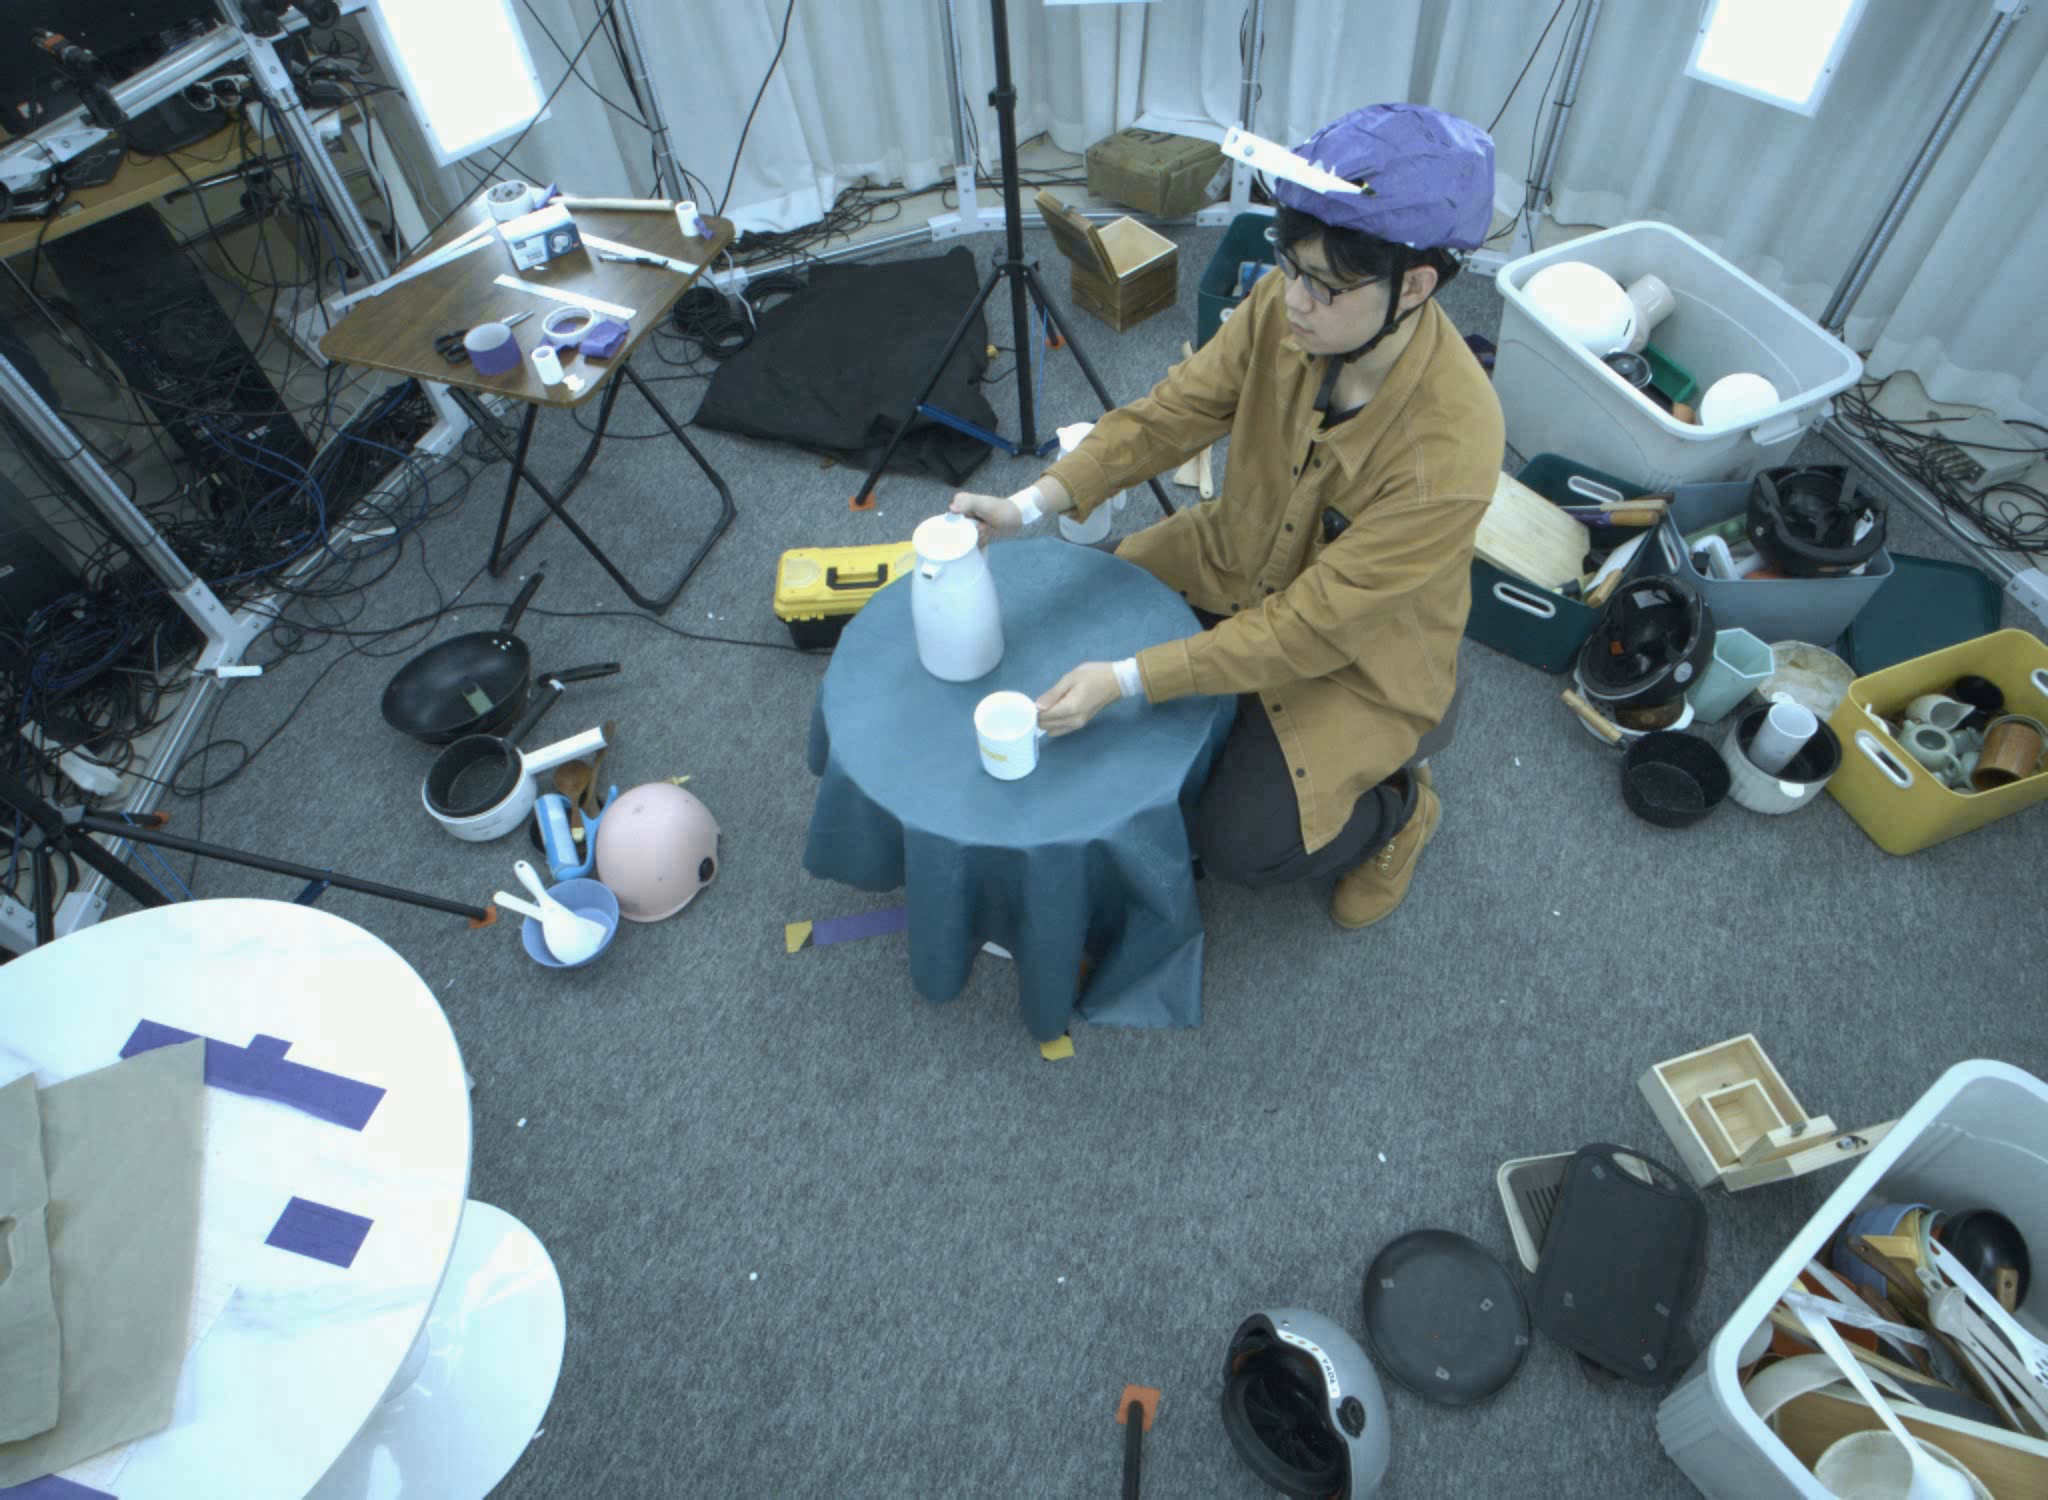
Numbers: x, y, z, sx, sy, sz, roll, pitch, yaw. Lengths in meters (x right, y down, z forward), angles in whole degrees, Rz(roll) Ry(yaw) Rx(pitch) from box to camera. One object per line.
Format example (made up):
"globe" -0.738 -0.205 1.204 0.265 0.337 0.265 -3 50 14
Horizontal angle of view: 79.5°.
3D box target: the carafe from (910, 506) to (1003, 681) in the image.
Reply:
"carafe" -0.100 -0.244 1.807 0.131 0.251 0.167 16 56 15

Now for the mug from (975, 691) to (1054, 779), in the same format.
"mug" -0.010 -0.027 1.740 0.119 0.103 0.083 -30 59 -19
